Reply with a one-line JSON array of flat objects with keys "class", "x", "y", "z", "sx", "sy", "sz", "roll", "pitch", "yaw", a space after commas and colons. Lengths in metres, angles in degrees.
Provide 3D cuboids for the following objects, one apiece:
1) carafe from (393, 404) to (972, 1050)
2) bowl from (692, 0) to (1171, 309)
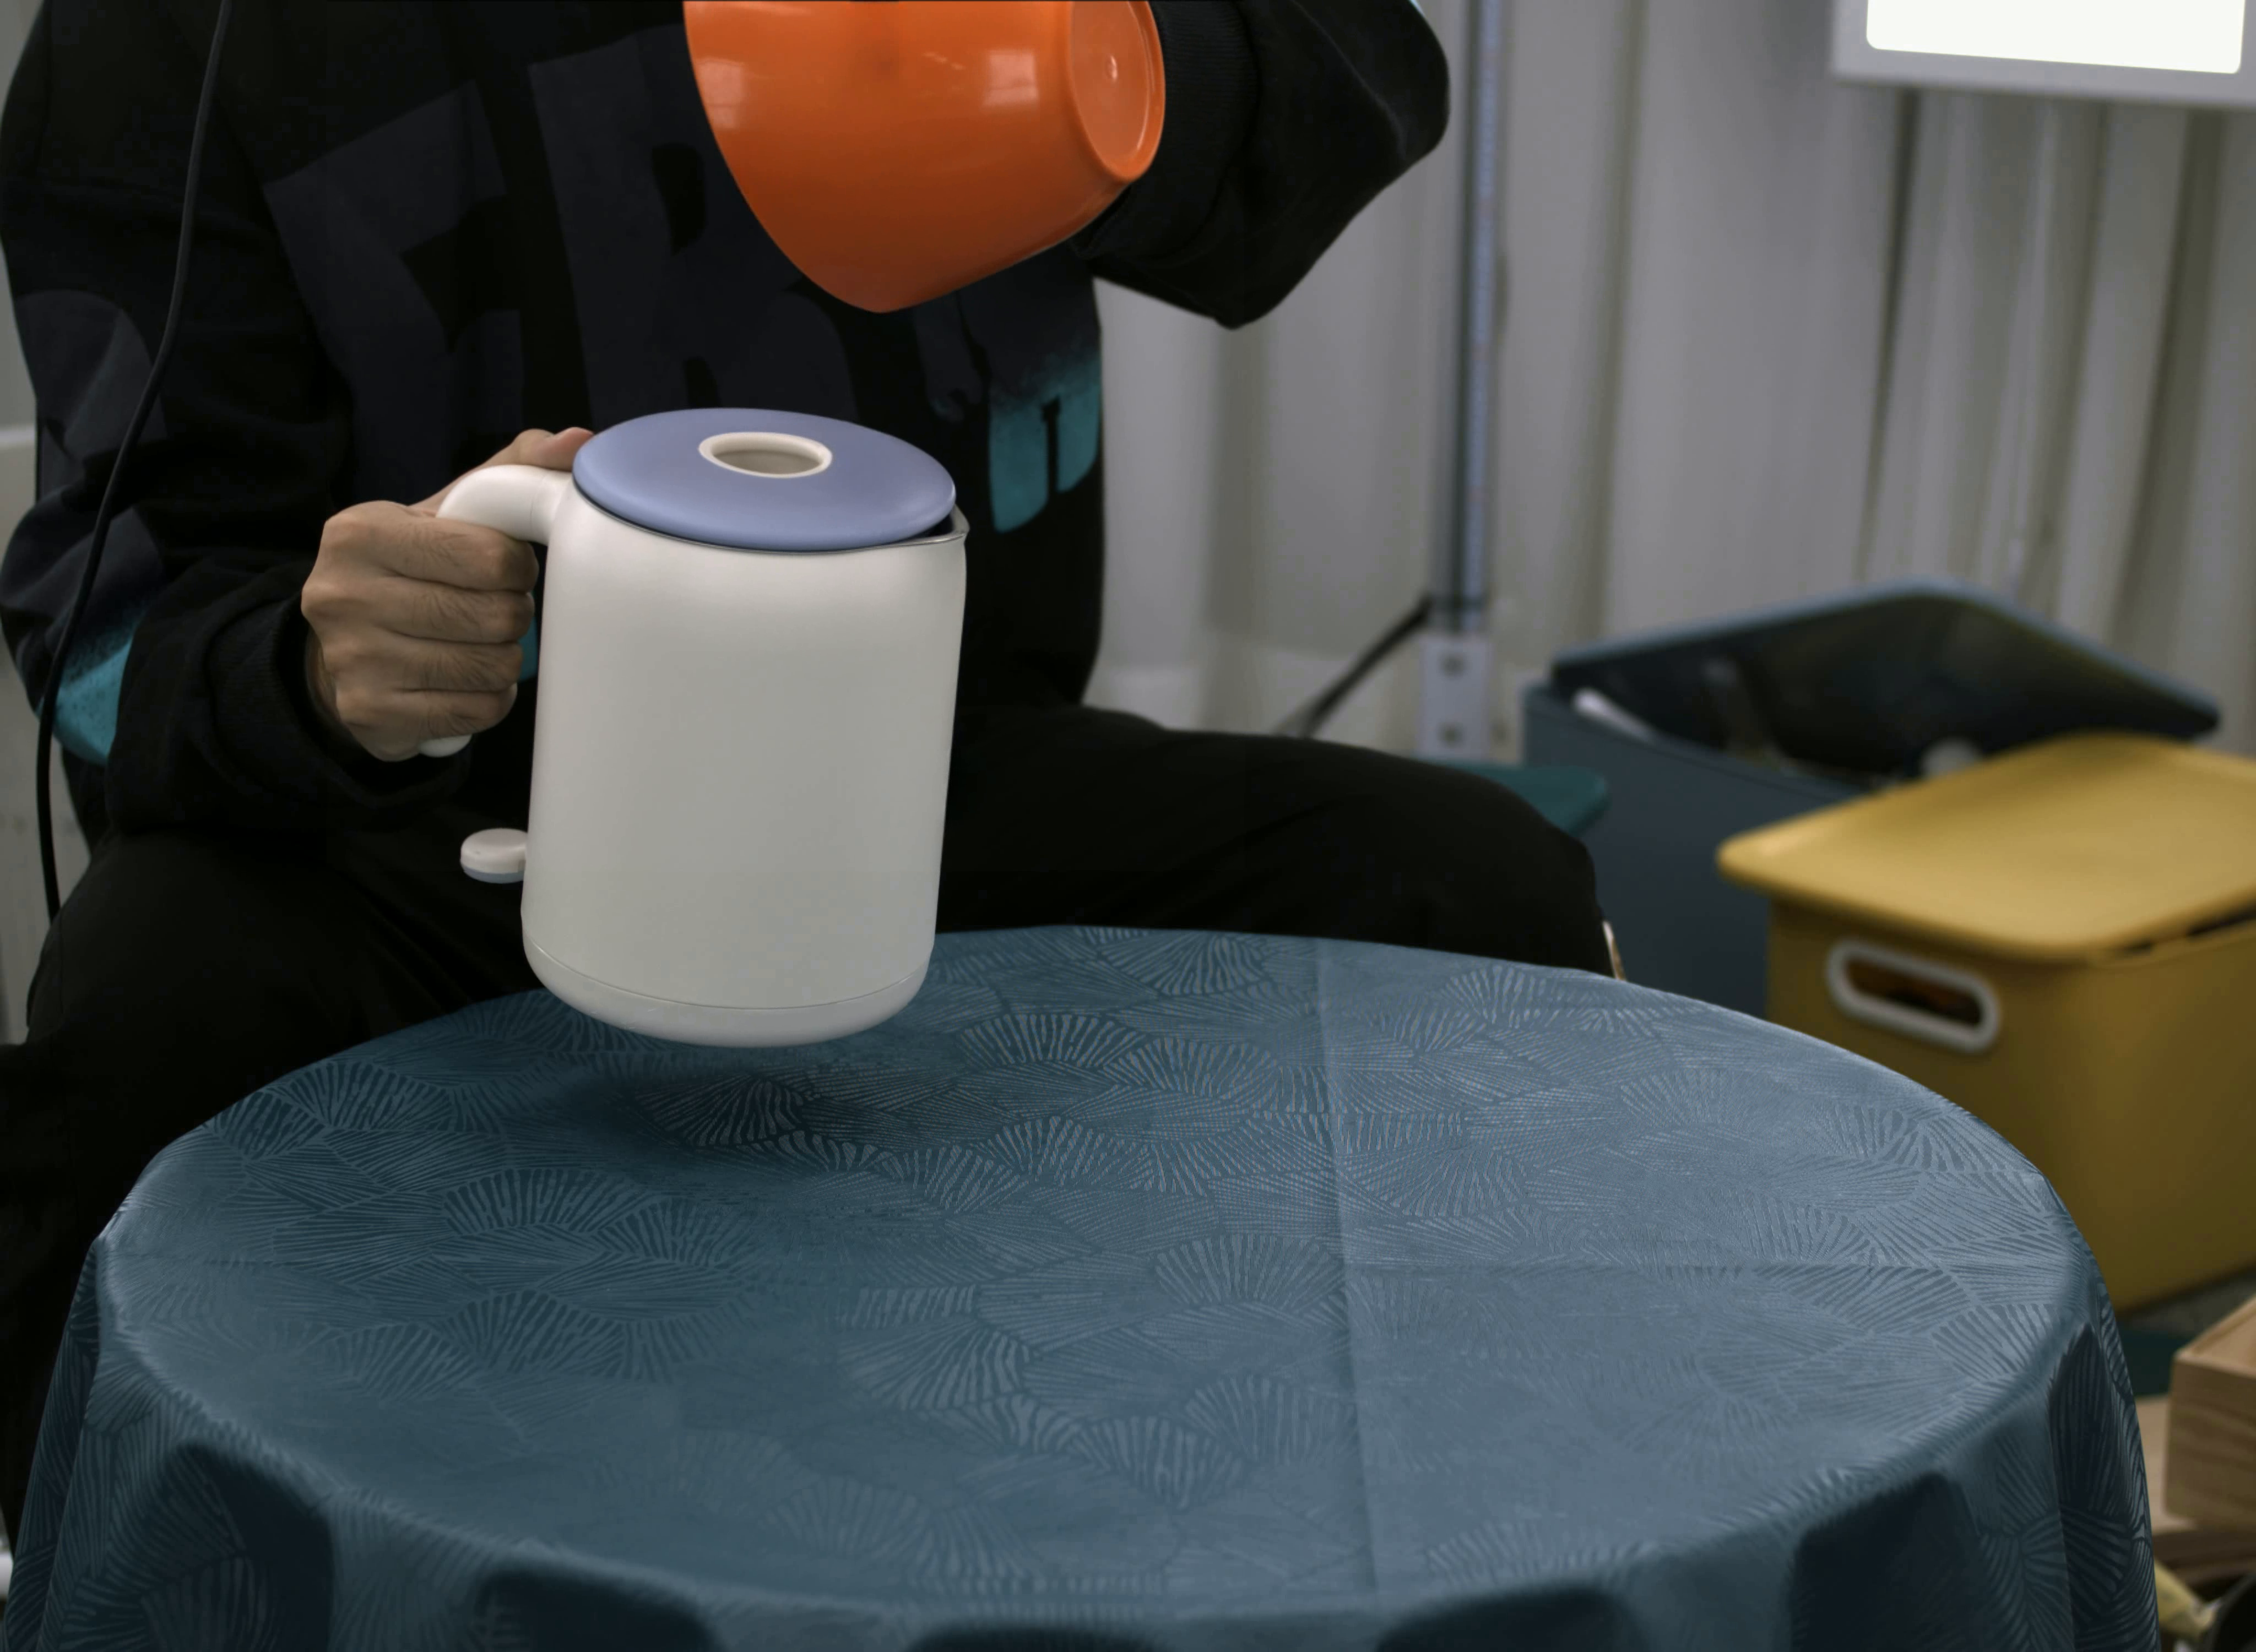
[{"class": "carafe", "x": -0.142, "y": -0.036, "z": 1.648, "sx": 0.189, "sy": 0.184, "sz": 0.132, "roll": 11, "pitch": 21, "yaw": 17}, {"class": "bowl", "x": -0.050, "y": -0.229, "z": 1.552, "sx": 0.103, "sy": 0.149, "sz": 0.148, "roll": -3, "pitch": 13, "yaw": 25}]
